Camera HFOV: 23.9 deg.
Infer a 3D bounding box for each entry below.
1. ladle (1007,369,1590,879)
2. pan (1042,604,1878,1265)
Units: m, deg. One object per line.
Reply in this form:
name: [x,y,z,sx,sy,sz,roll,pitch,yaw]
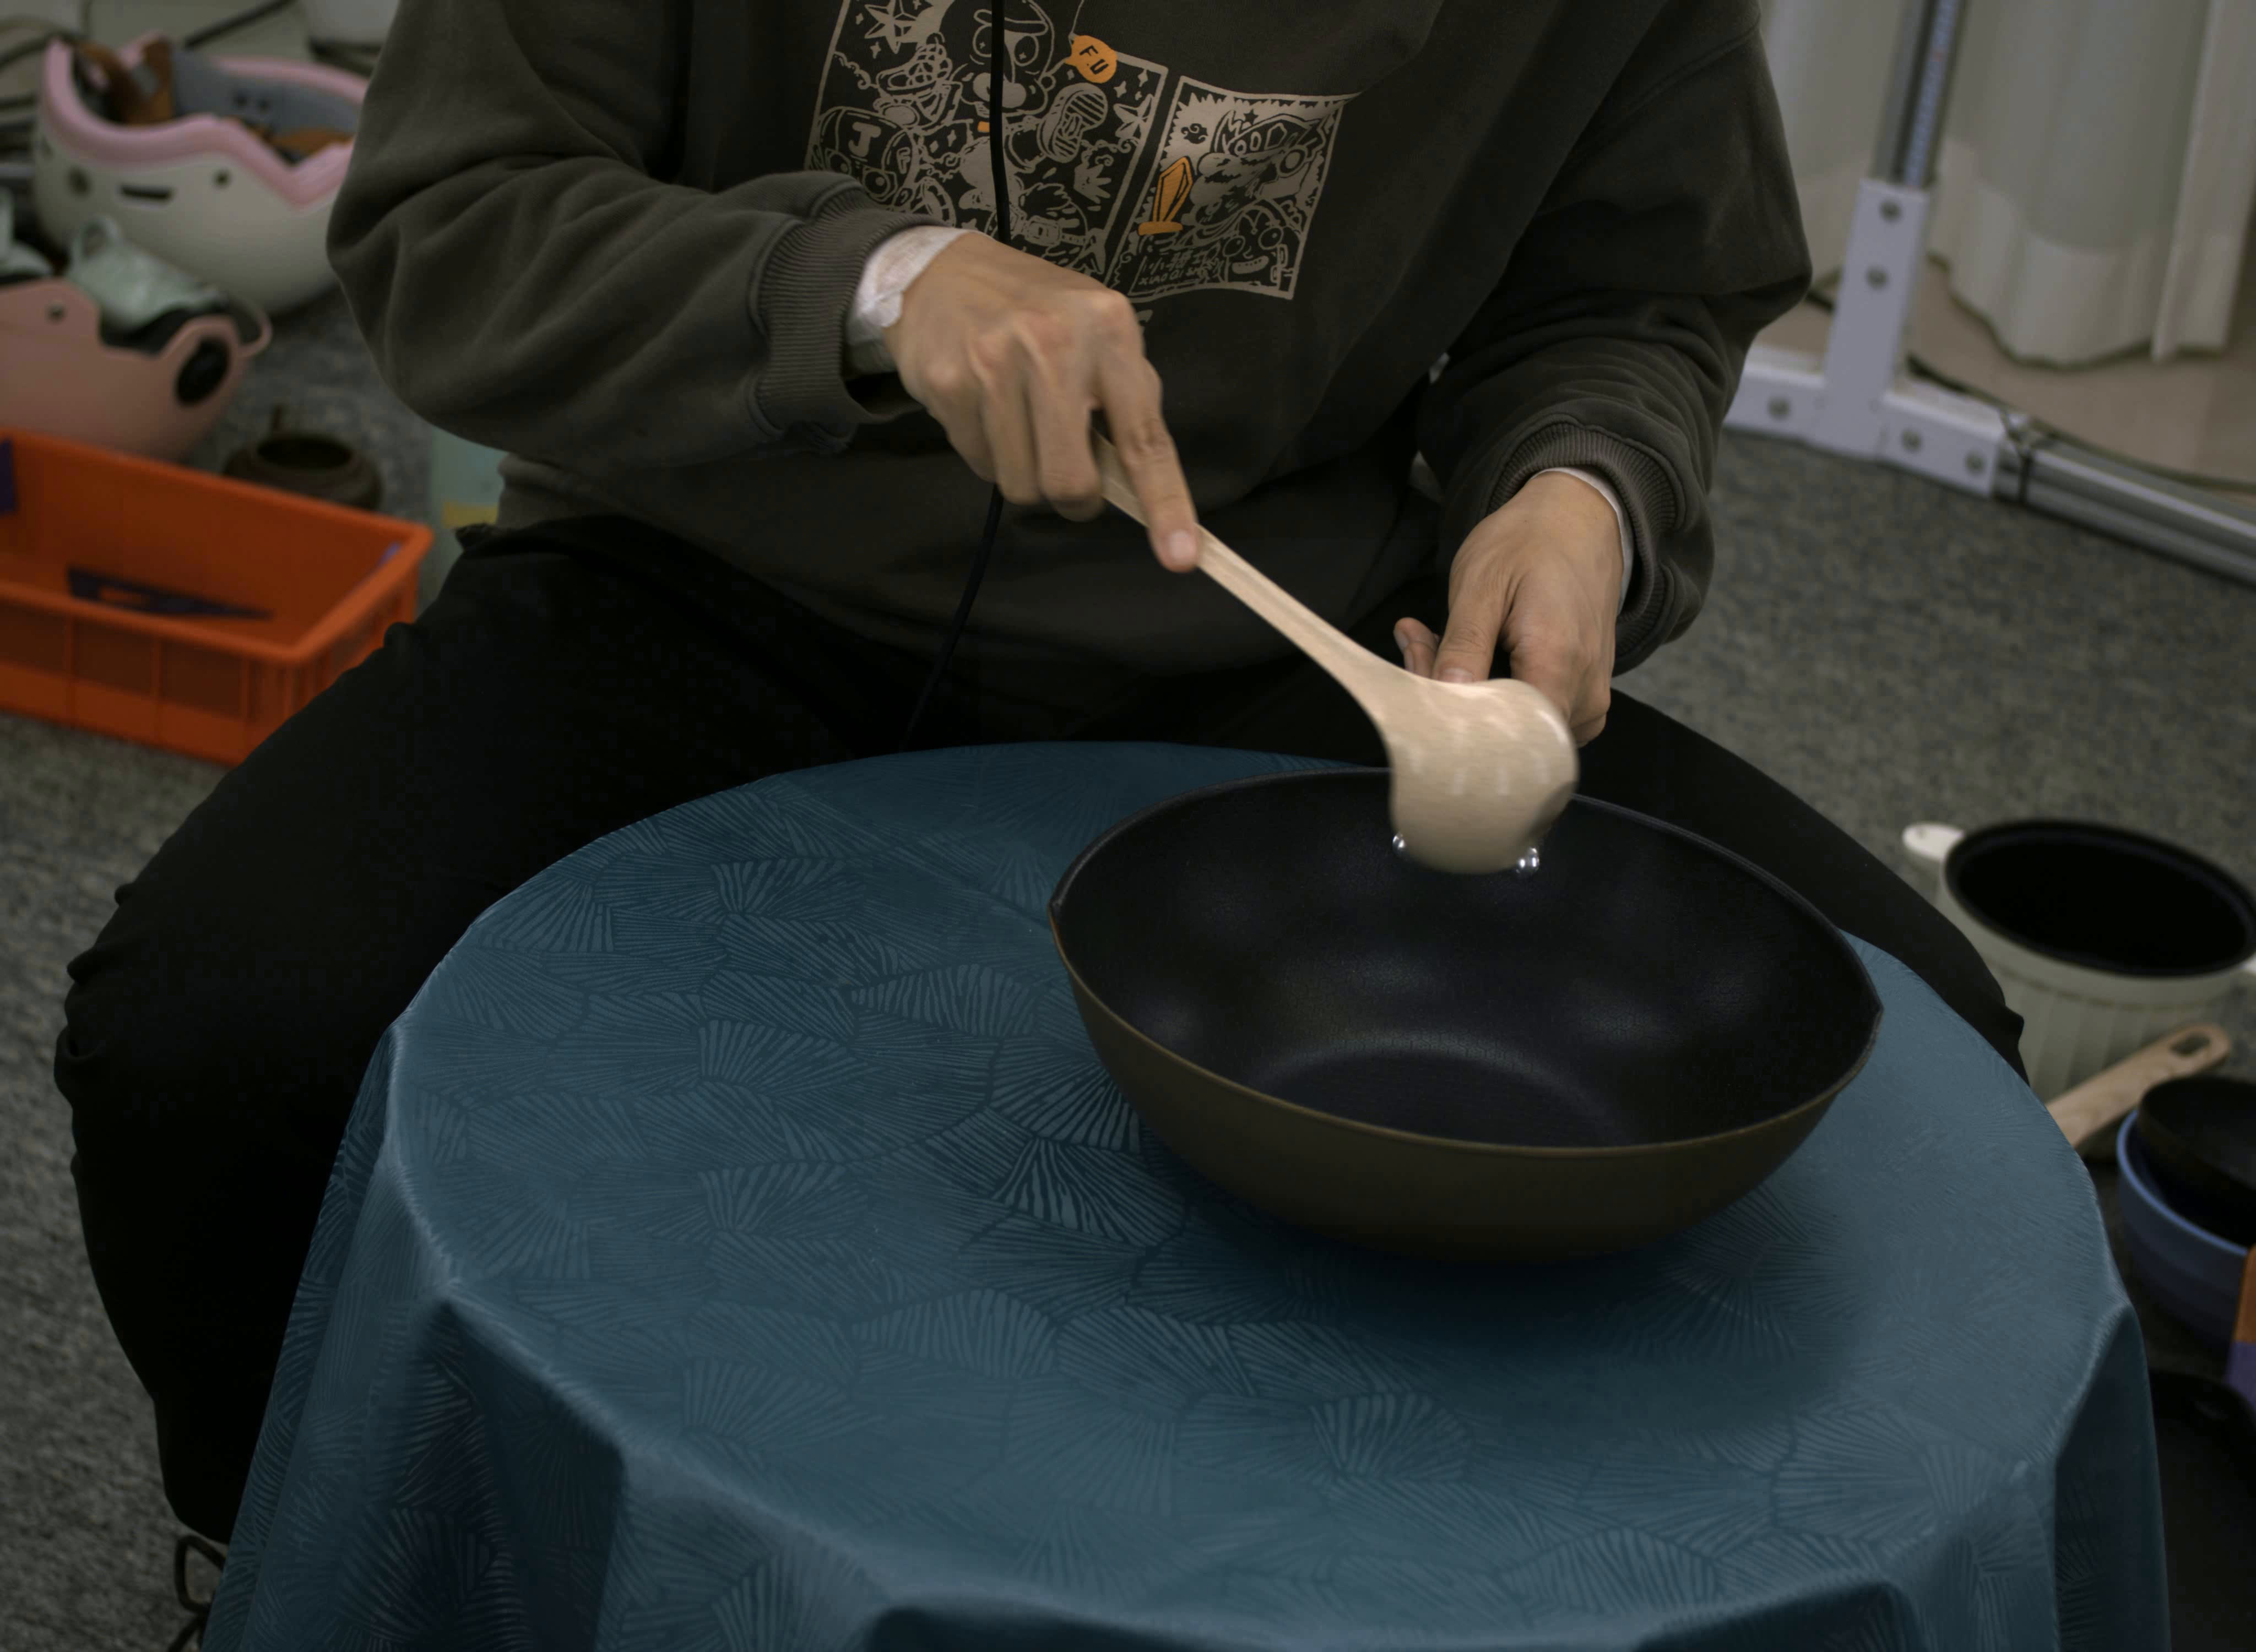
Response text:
ladle: [0.057,-0.075,1.895,0.256,0.072,0.072,40,-2,22]
pan: [0.117,0.039,1.910,0.287,0.086,0.465,8,24,2]
